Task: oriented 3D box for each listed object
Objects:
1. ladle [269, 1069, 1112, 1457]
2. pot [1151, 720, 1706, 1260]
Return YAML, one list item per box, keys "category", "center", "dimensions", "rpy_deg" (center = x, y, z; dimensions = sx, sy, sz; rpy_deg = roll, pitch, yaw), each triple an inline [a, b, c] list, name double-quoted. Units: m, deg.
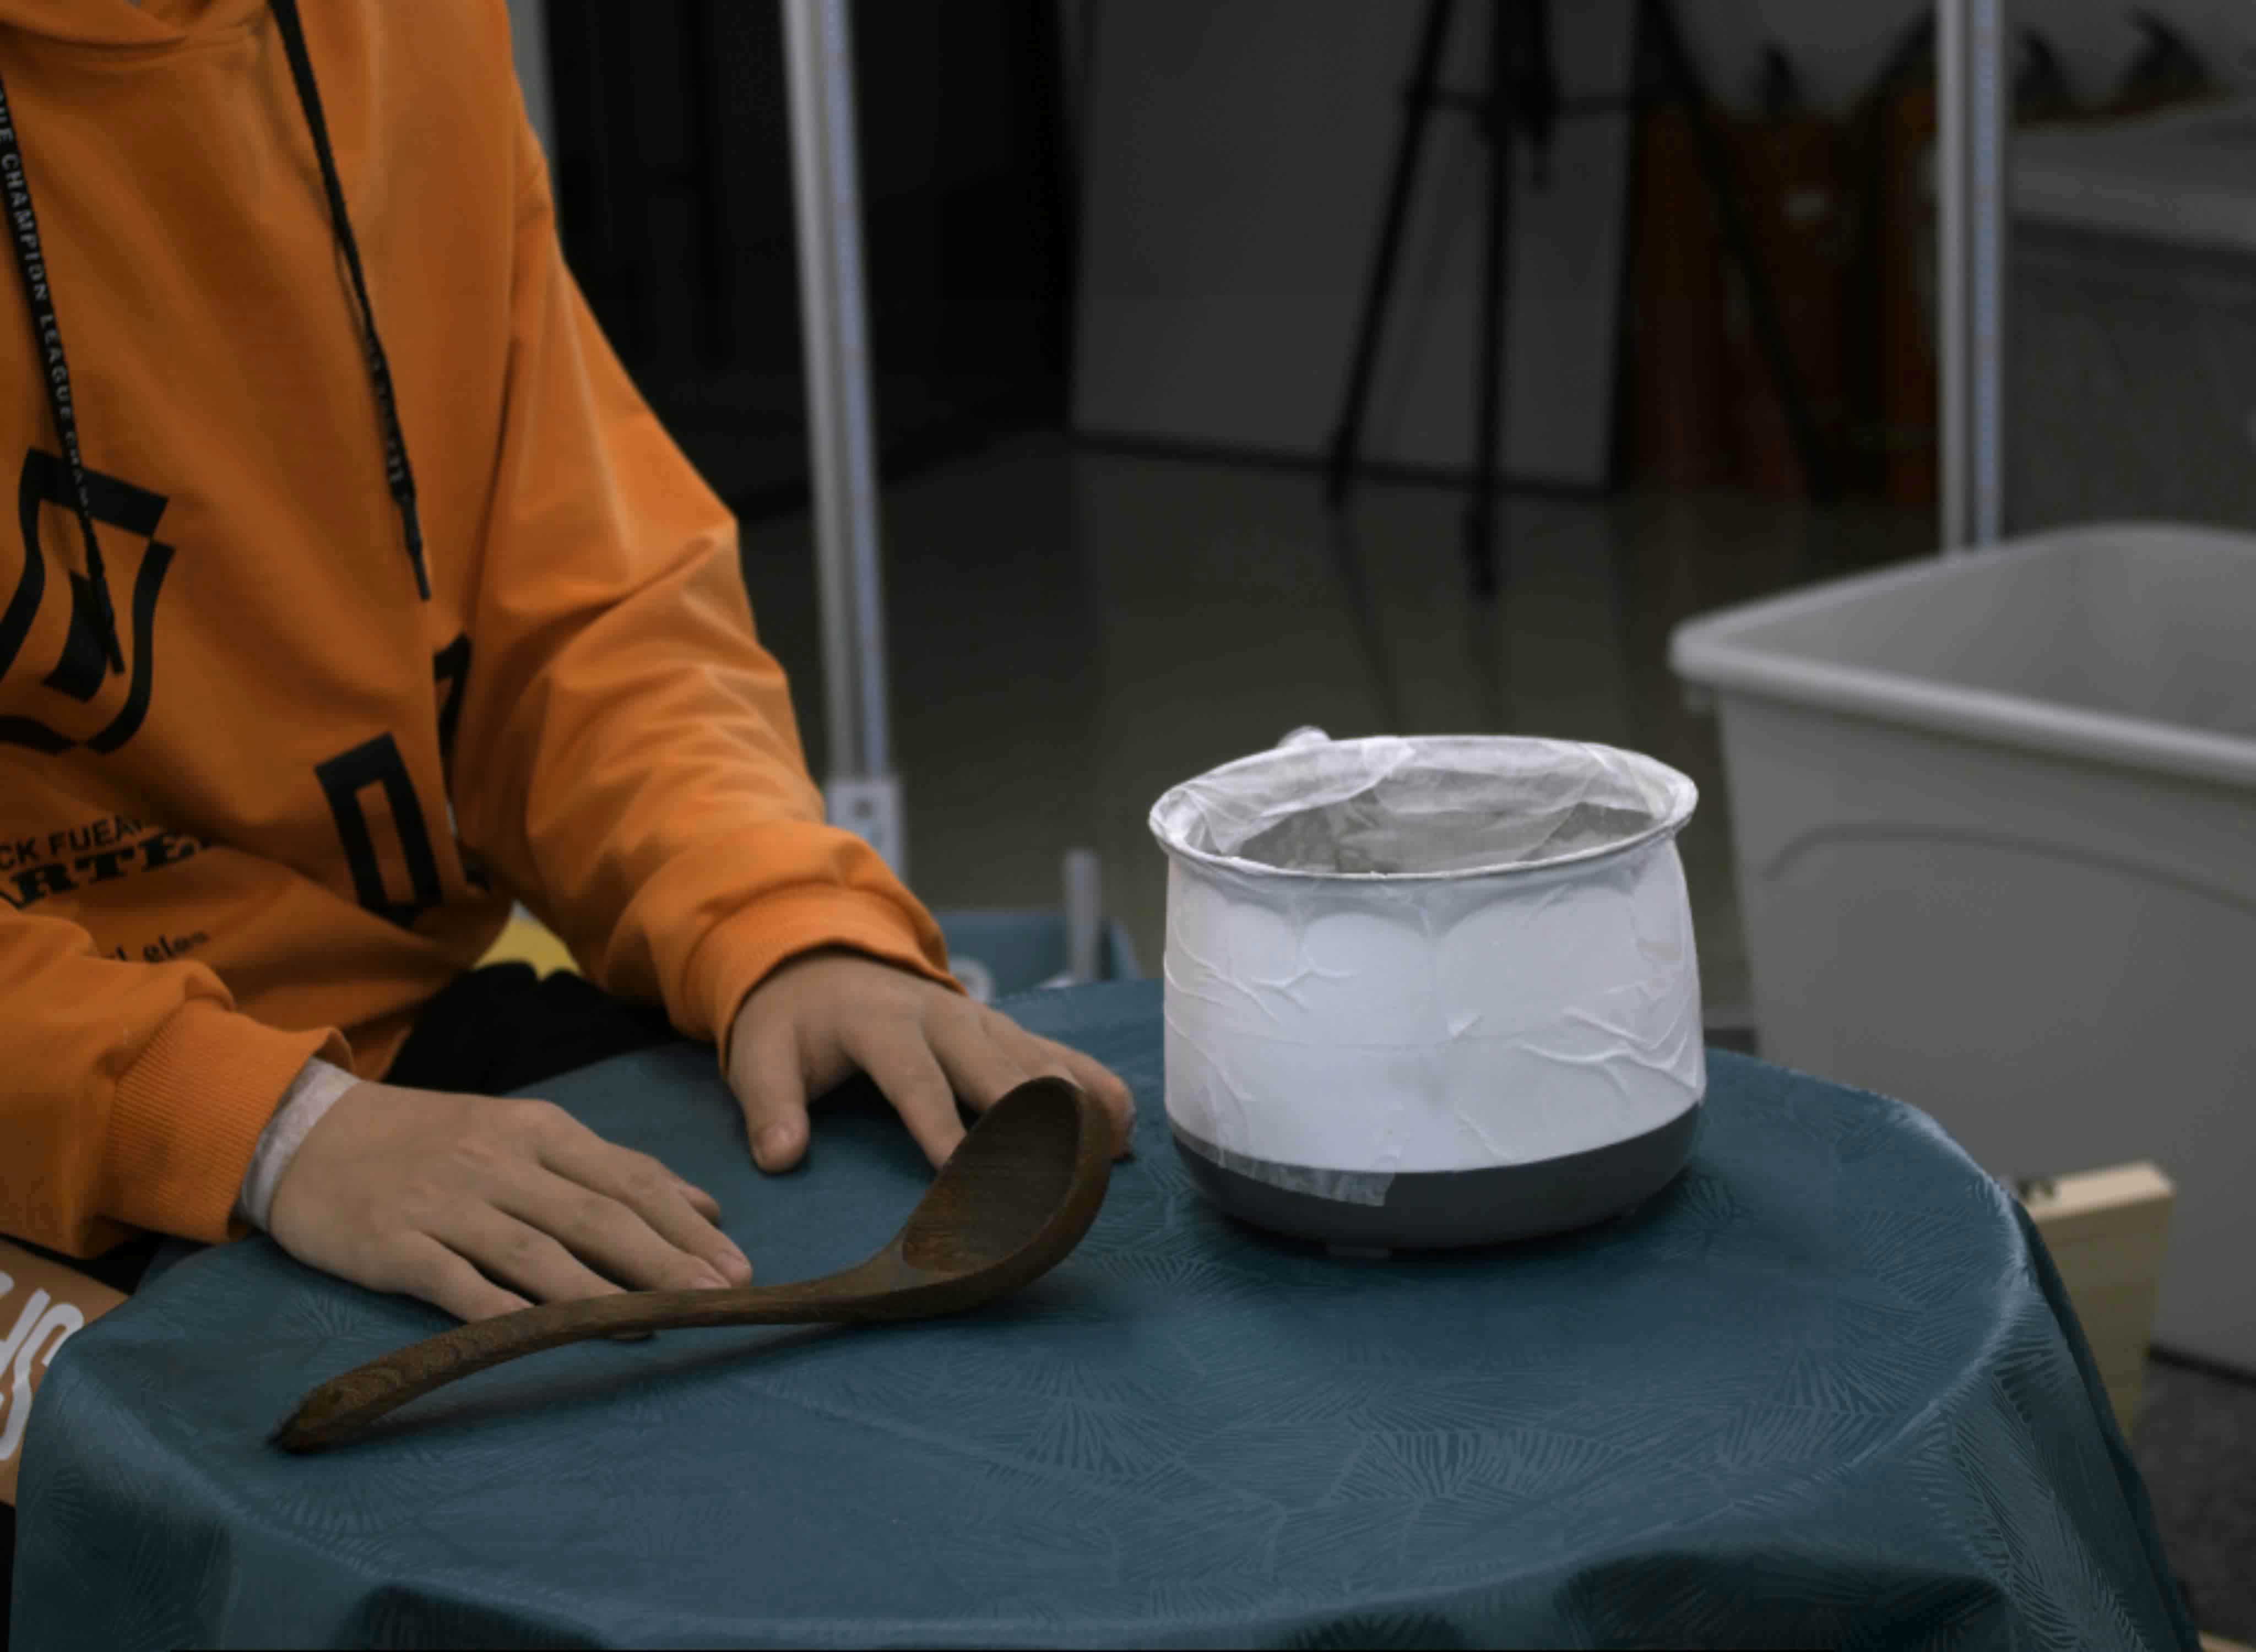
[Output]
- category: "ladle"
  center: [-0.130, 0.129, 1.630]
  dimensions: [0.268, 0.072, 0.077]
  rpy_deg: [-9, 11, -23]
- category: "pot"
  center: [0.087, 0.047, 1.758]
  dimensions: [0.175, 0.138, 0.236]
  rpy_deg: [-8, 14, -19]
